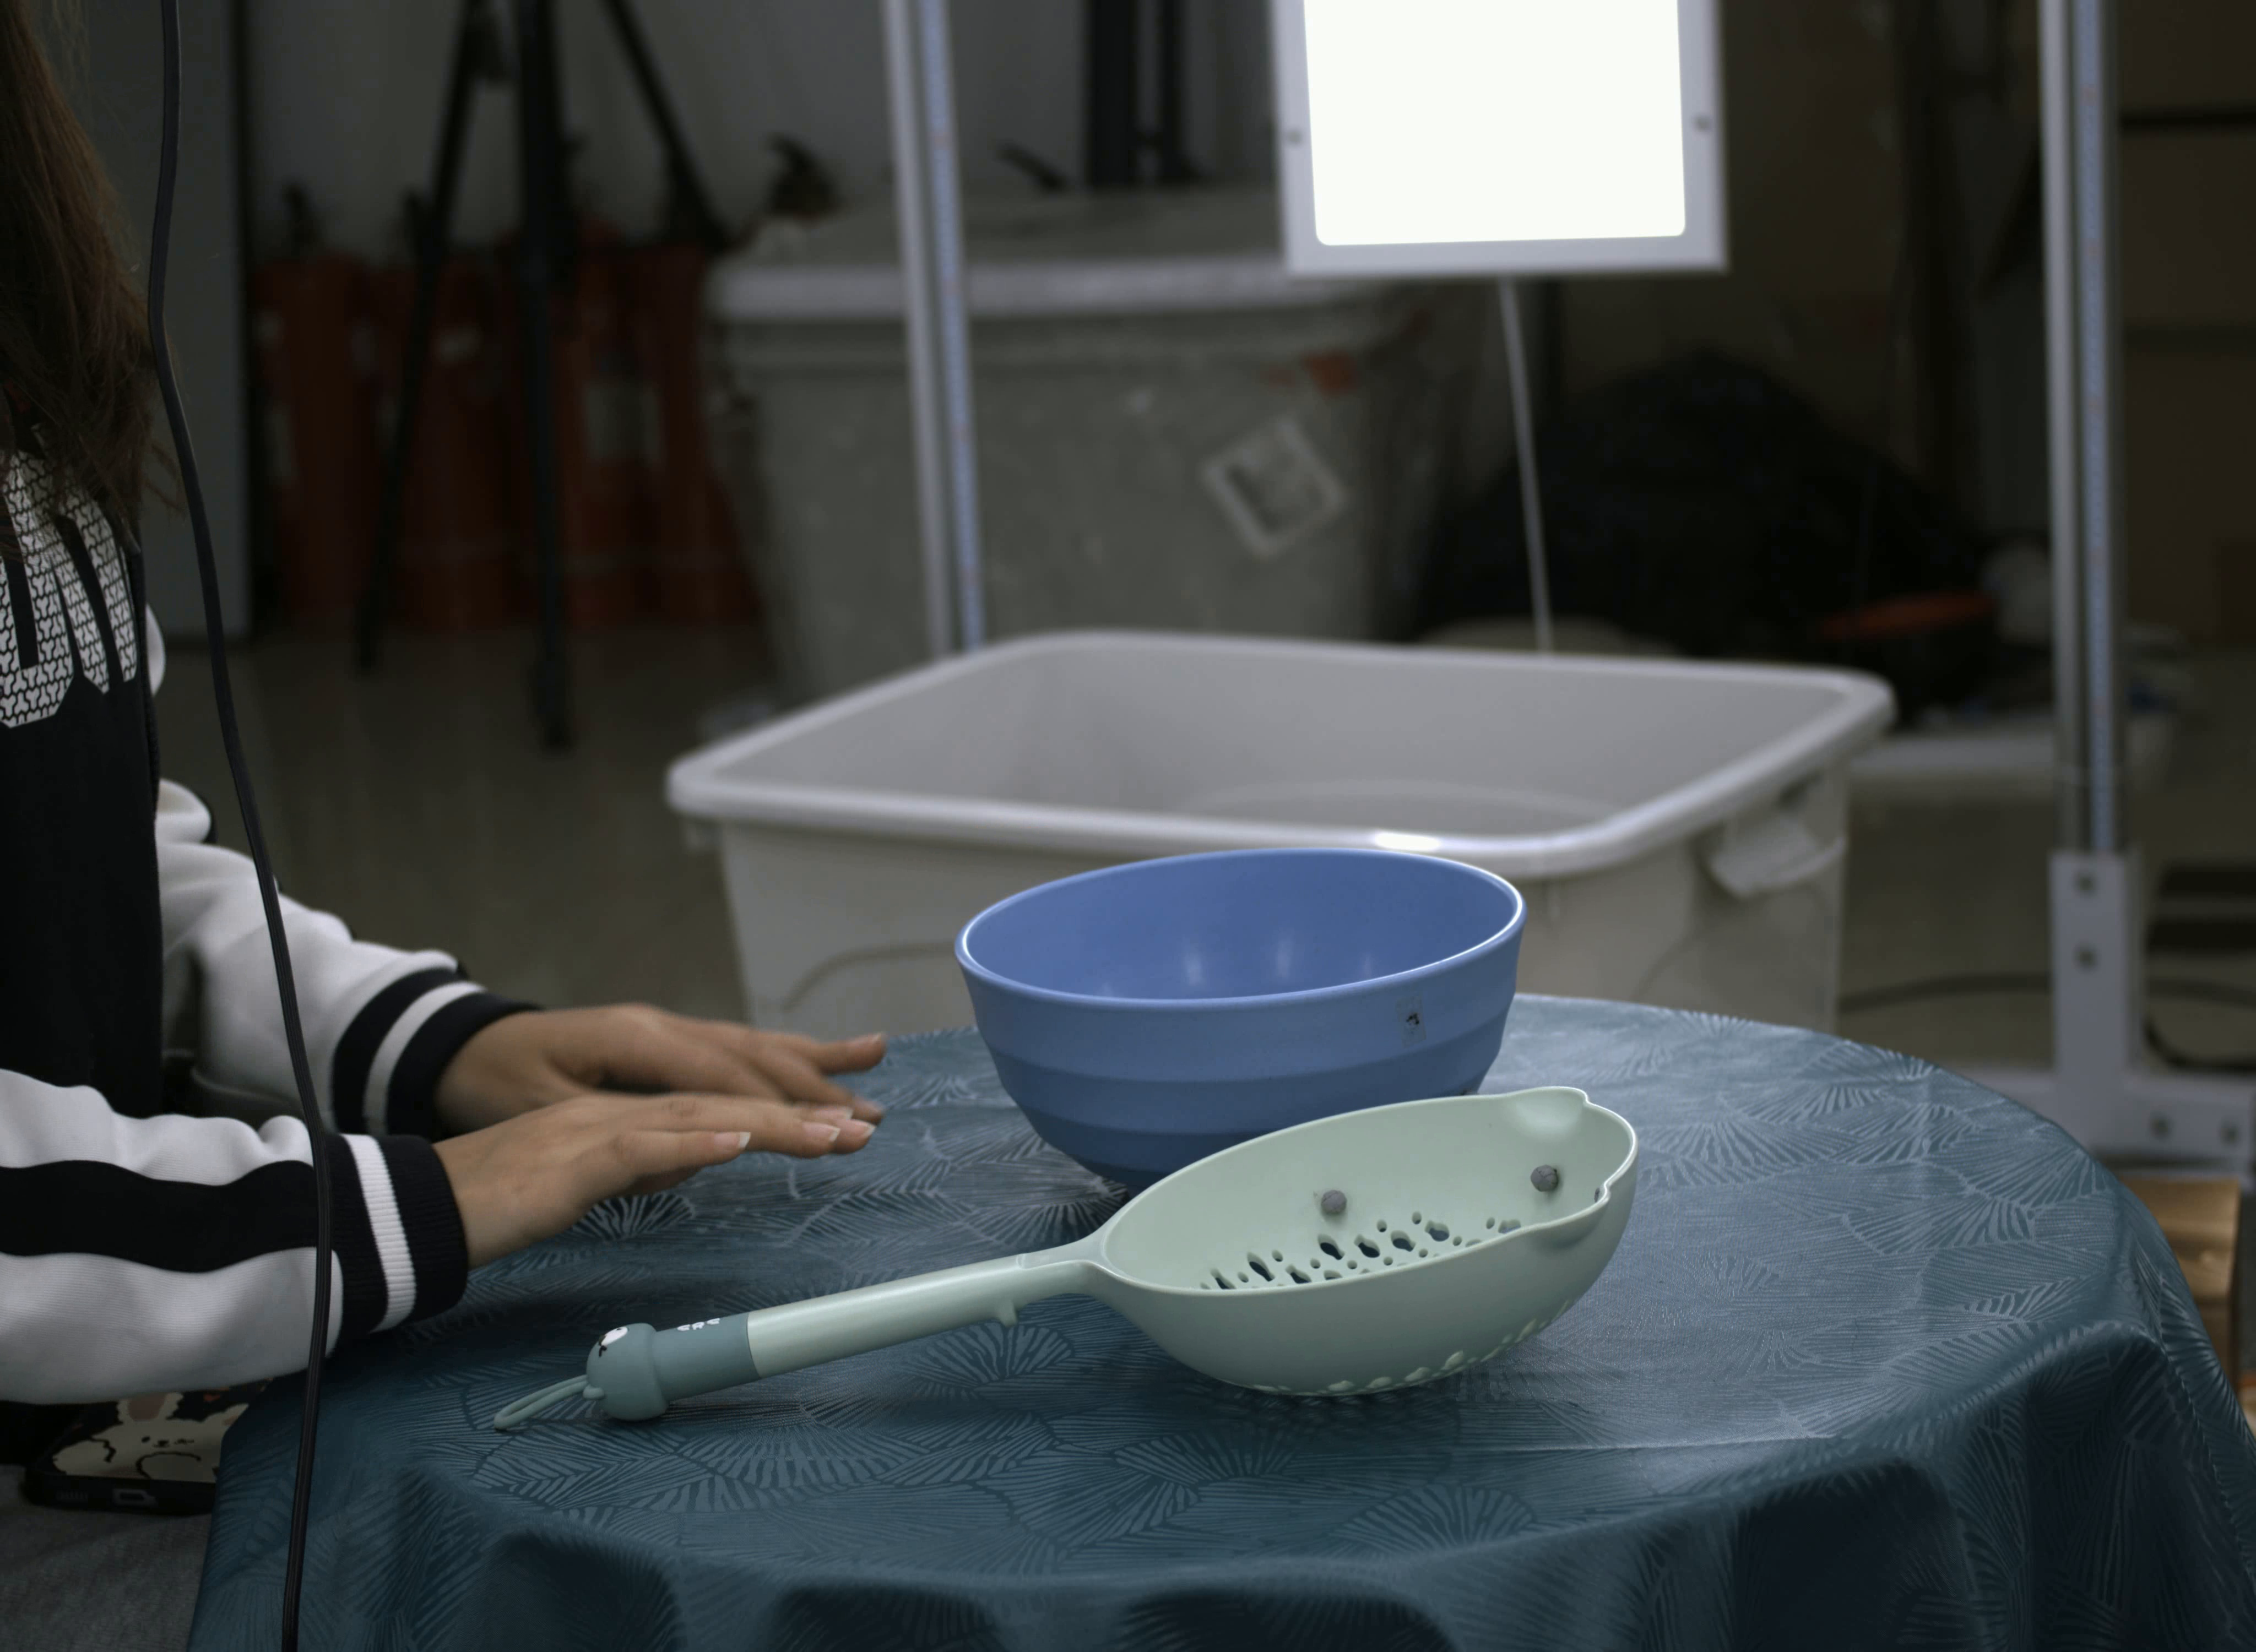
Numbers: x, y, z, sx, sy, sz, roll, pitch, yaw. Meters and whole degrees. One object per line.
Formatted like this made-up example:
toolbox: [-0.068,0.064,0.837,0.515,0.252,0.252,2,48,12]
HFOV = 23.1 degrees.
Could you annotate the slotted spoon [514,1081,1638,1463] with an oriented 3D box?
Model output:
slotted spoon: [-0.018,0.146,1.704,0.359,0.075,0.168,-6,13,5]

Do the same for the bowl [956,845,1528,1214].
bowl: [0.042,0.077,1.885,0.196,0.096,0.196,-5,14,0]
